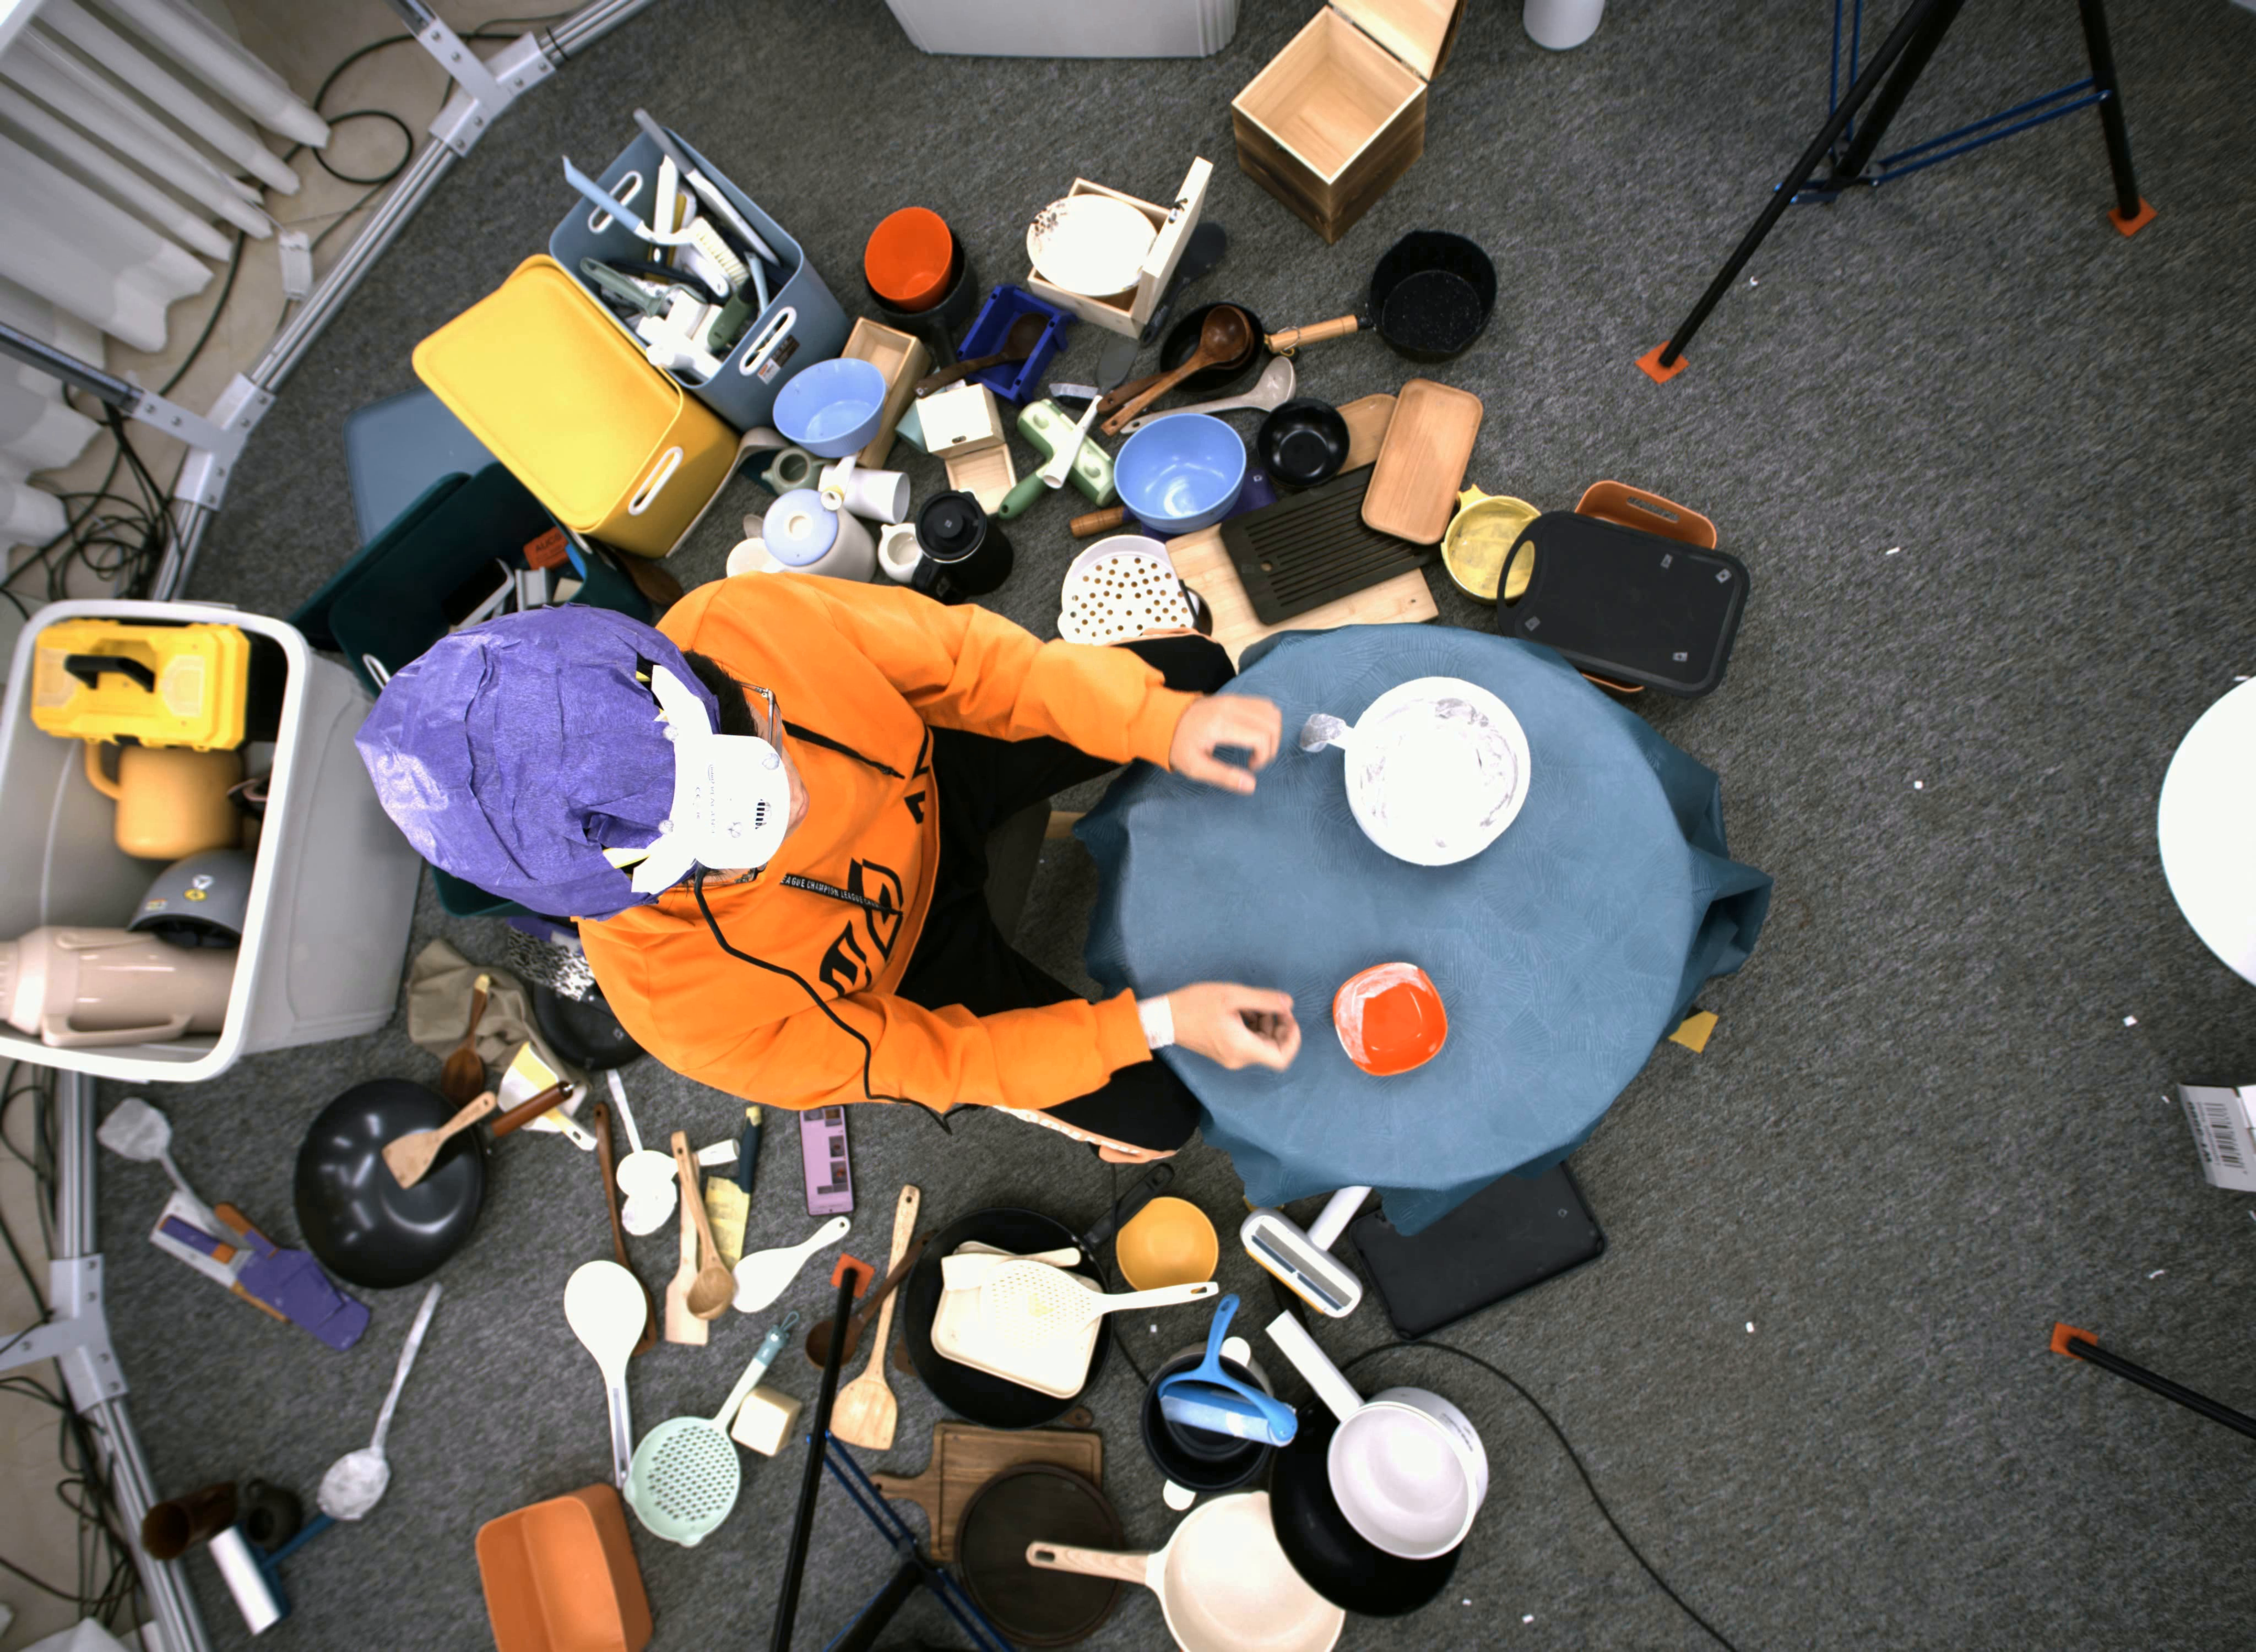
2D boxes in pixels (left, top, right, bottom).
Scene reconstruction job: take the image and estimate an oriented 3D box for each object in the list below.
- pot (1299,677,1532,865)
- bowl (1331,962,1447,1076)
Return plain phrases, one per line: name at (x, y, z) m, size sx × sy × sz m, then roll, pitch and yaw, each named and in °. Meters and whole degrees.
pot at (0.284, -0.062, 1.395) m, size 0.234 × 0.137 × 0.178 m, roll 21°, pitch 89°, yaw 11°
bowl at (0.269, 0.196, 1.428) m, size 0.119 × 0.051 × 0.118 m, roll -1°, pitch 87°, yaw 9°
